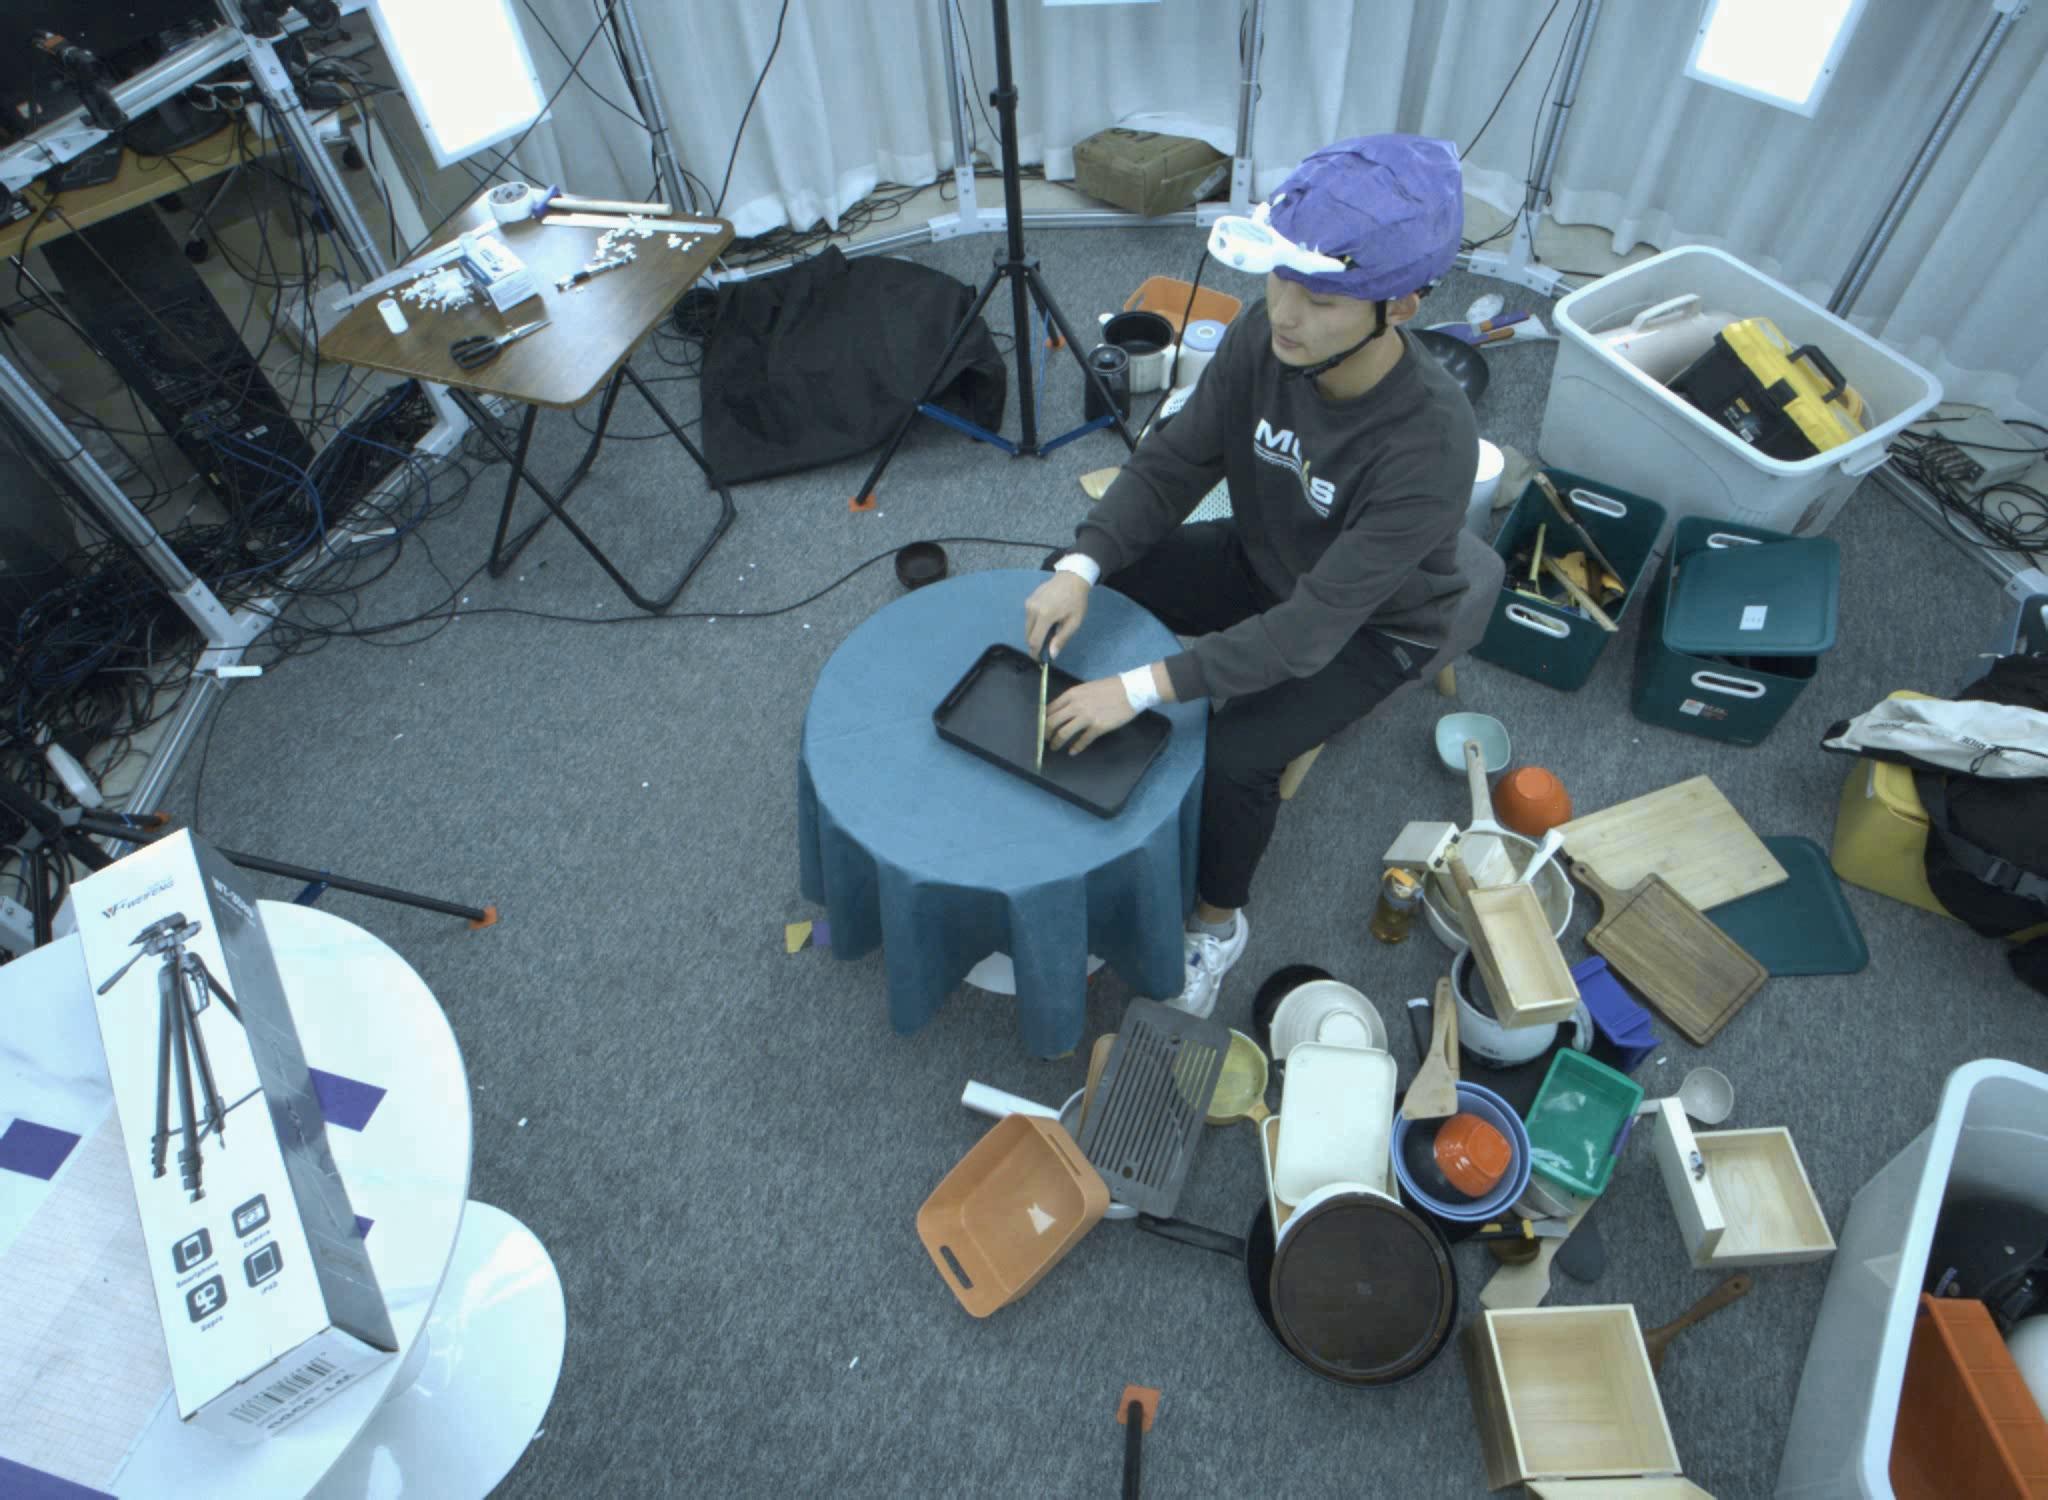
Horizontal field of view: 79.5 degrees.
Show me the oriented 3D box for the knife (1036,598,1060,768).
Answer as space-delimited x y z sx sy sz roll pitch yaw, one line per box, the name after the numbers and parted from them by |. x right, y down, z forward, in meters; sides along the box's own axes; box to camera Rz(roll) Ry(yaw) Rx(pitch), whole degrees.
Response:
0.030 -0.100 1.810 0.027 0.081 0.287 8 60 -6 | knife

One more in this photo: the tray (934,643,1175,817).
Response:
0.044 -0.033 1.794 0.313 0.037 0.185 25 59 18 | tray
